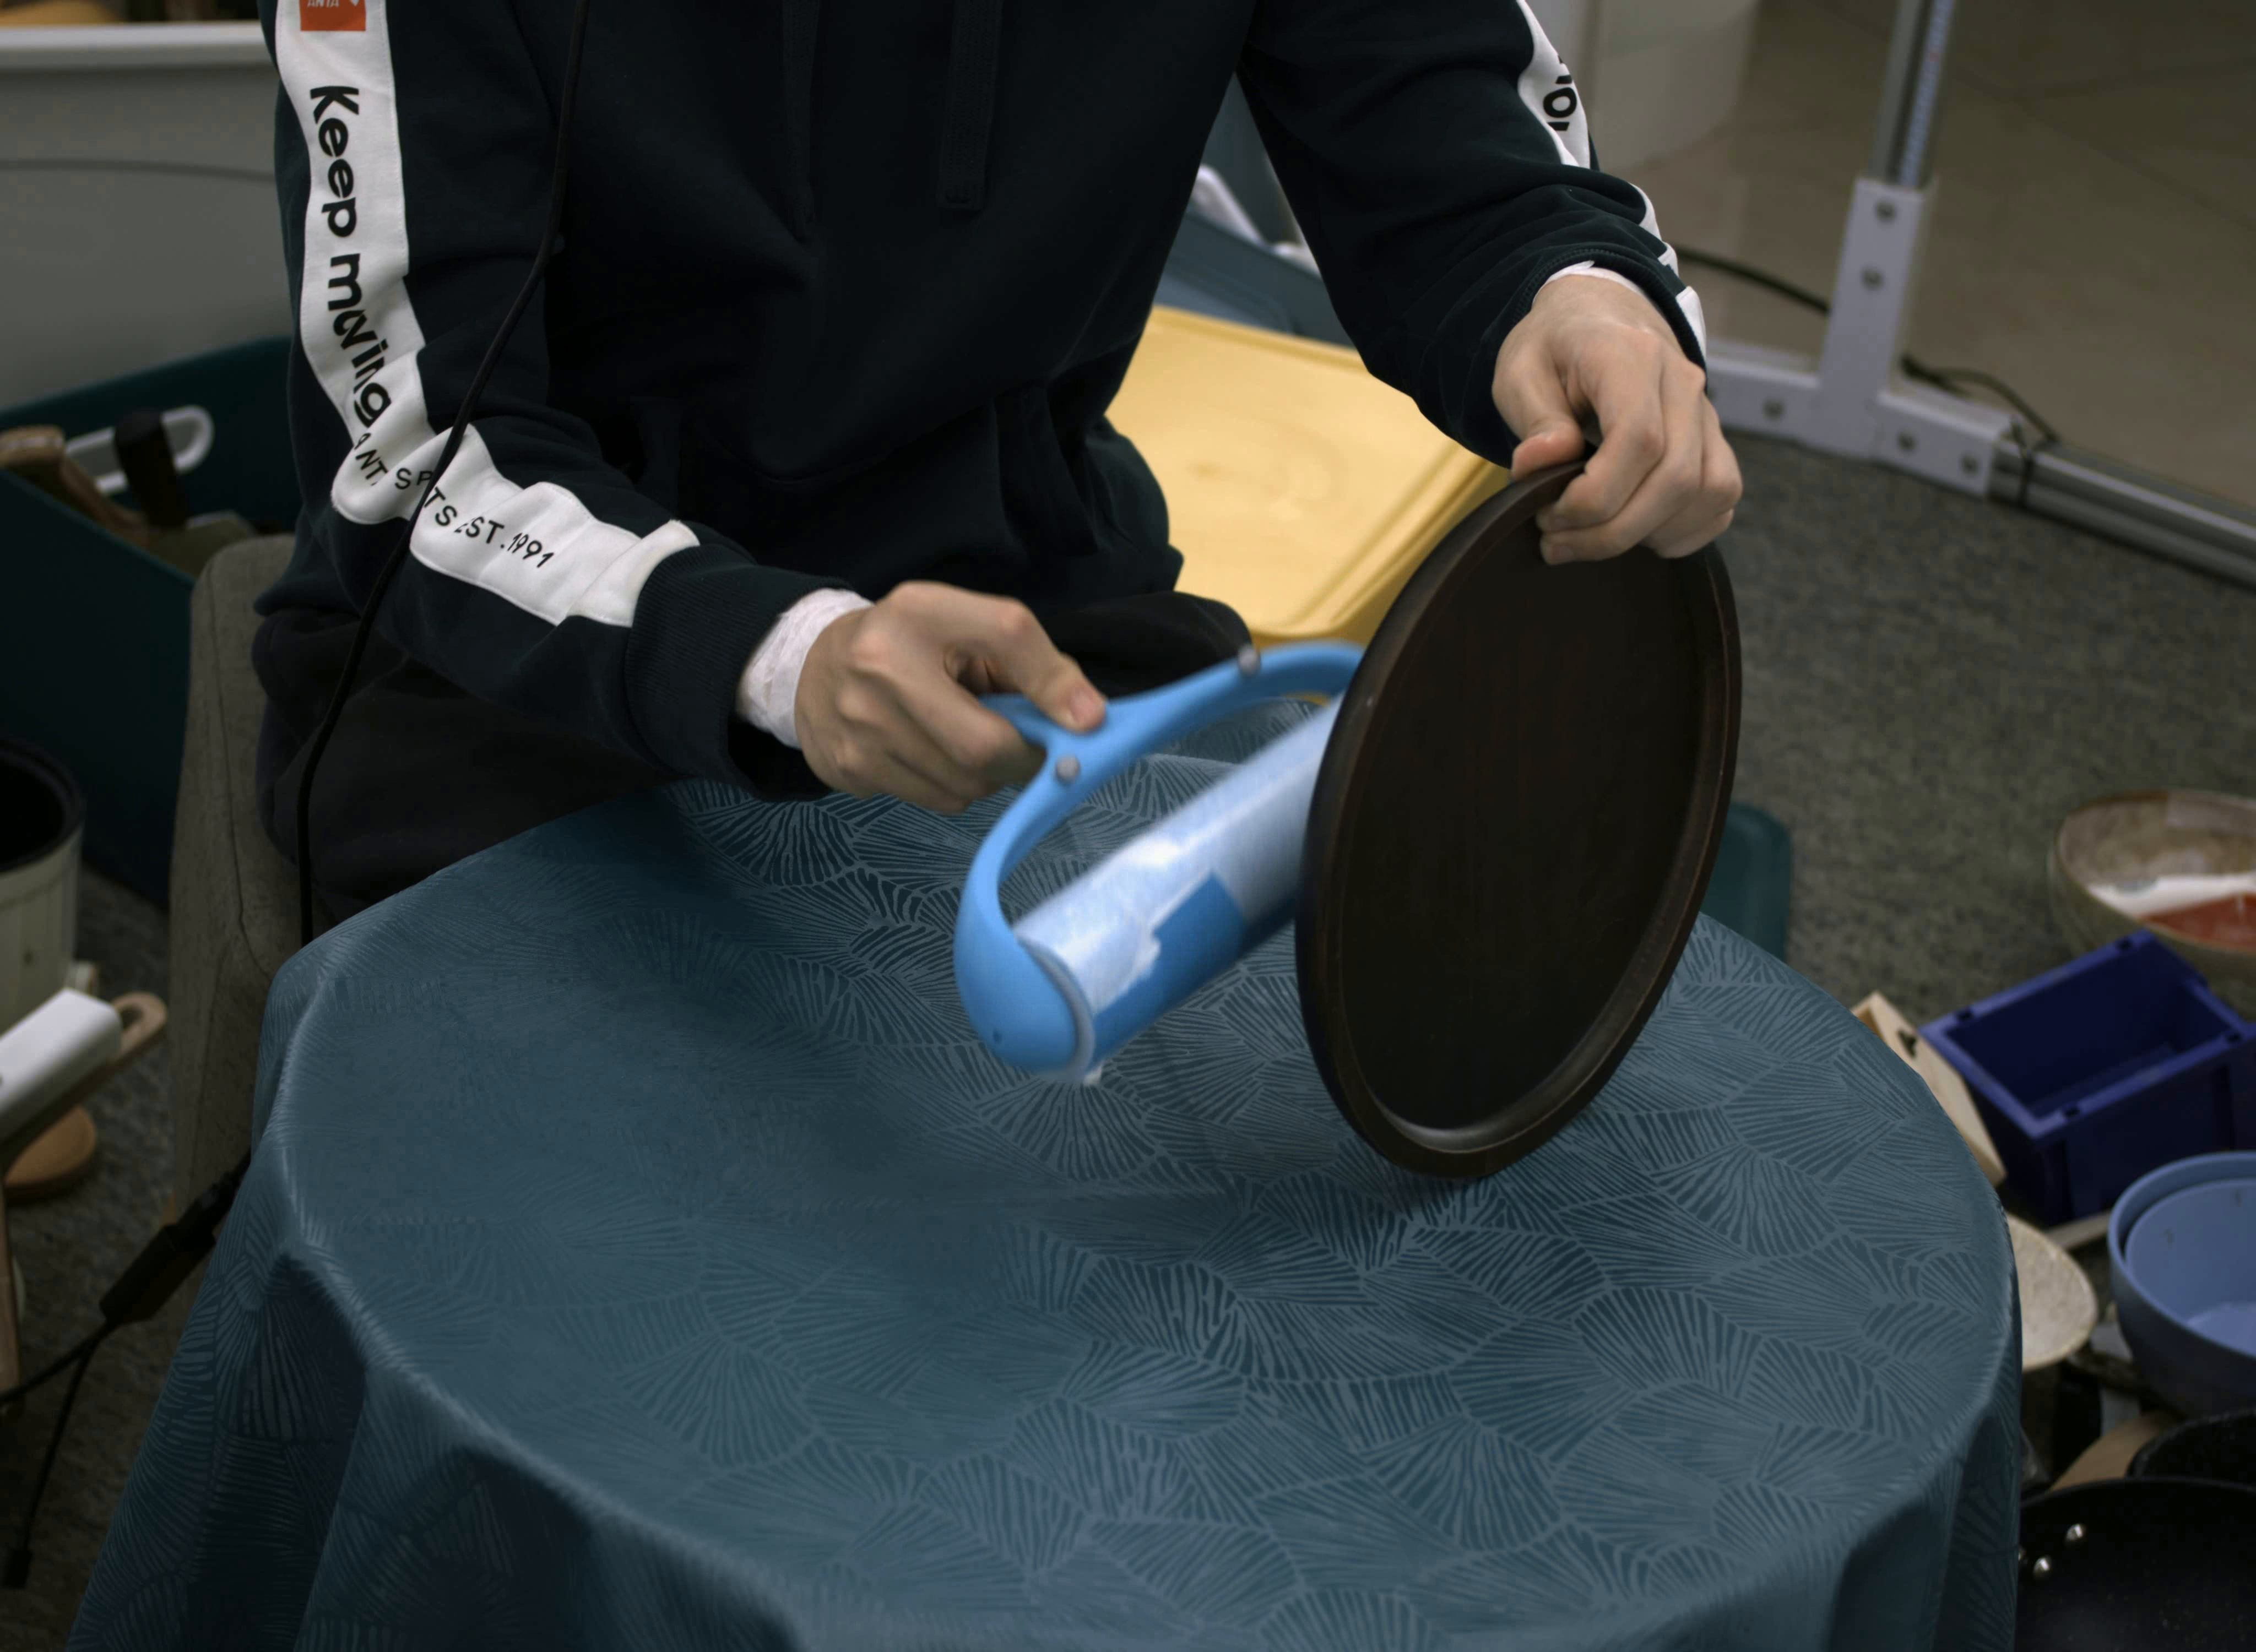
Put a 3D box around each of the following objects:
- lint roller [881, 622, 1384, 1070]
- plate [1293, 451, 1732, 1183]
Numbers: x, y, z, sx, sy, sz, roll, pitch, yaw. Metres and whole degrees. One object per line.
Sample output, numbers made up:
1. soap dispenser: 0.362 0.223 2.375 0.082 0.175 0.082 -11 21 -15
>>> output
1. lint roller: -0.015 -0.013 1.798 0.181 0.067 0.228 25 46 29
2. plate: 0.132 -0.003 1.804 0.029 0.254 0.254 17 27 33
